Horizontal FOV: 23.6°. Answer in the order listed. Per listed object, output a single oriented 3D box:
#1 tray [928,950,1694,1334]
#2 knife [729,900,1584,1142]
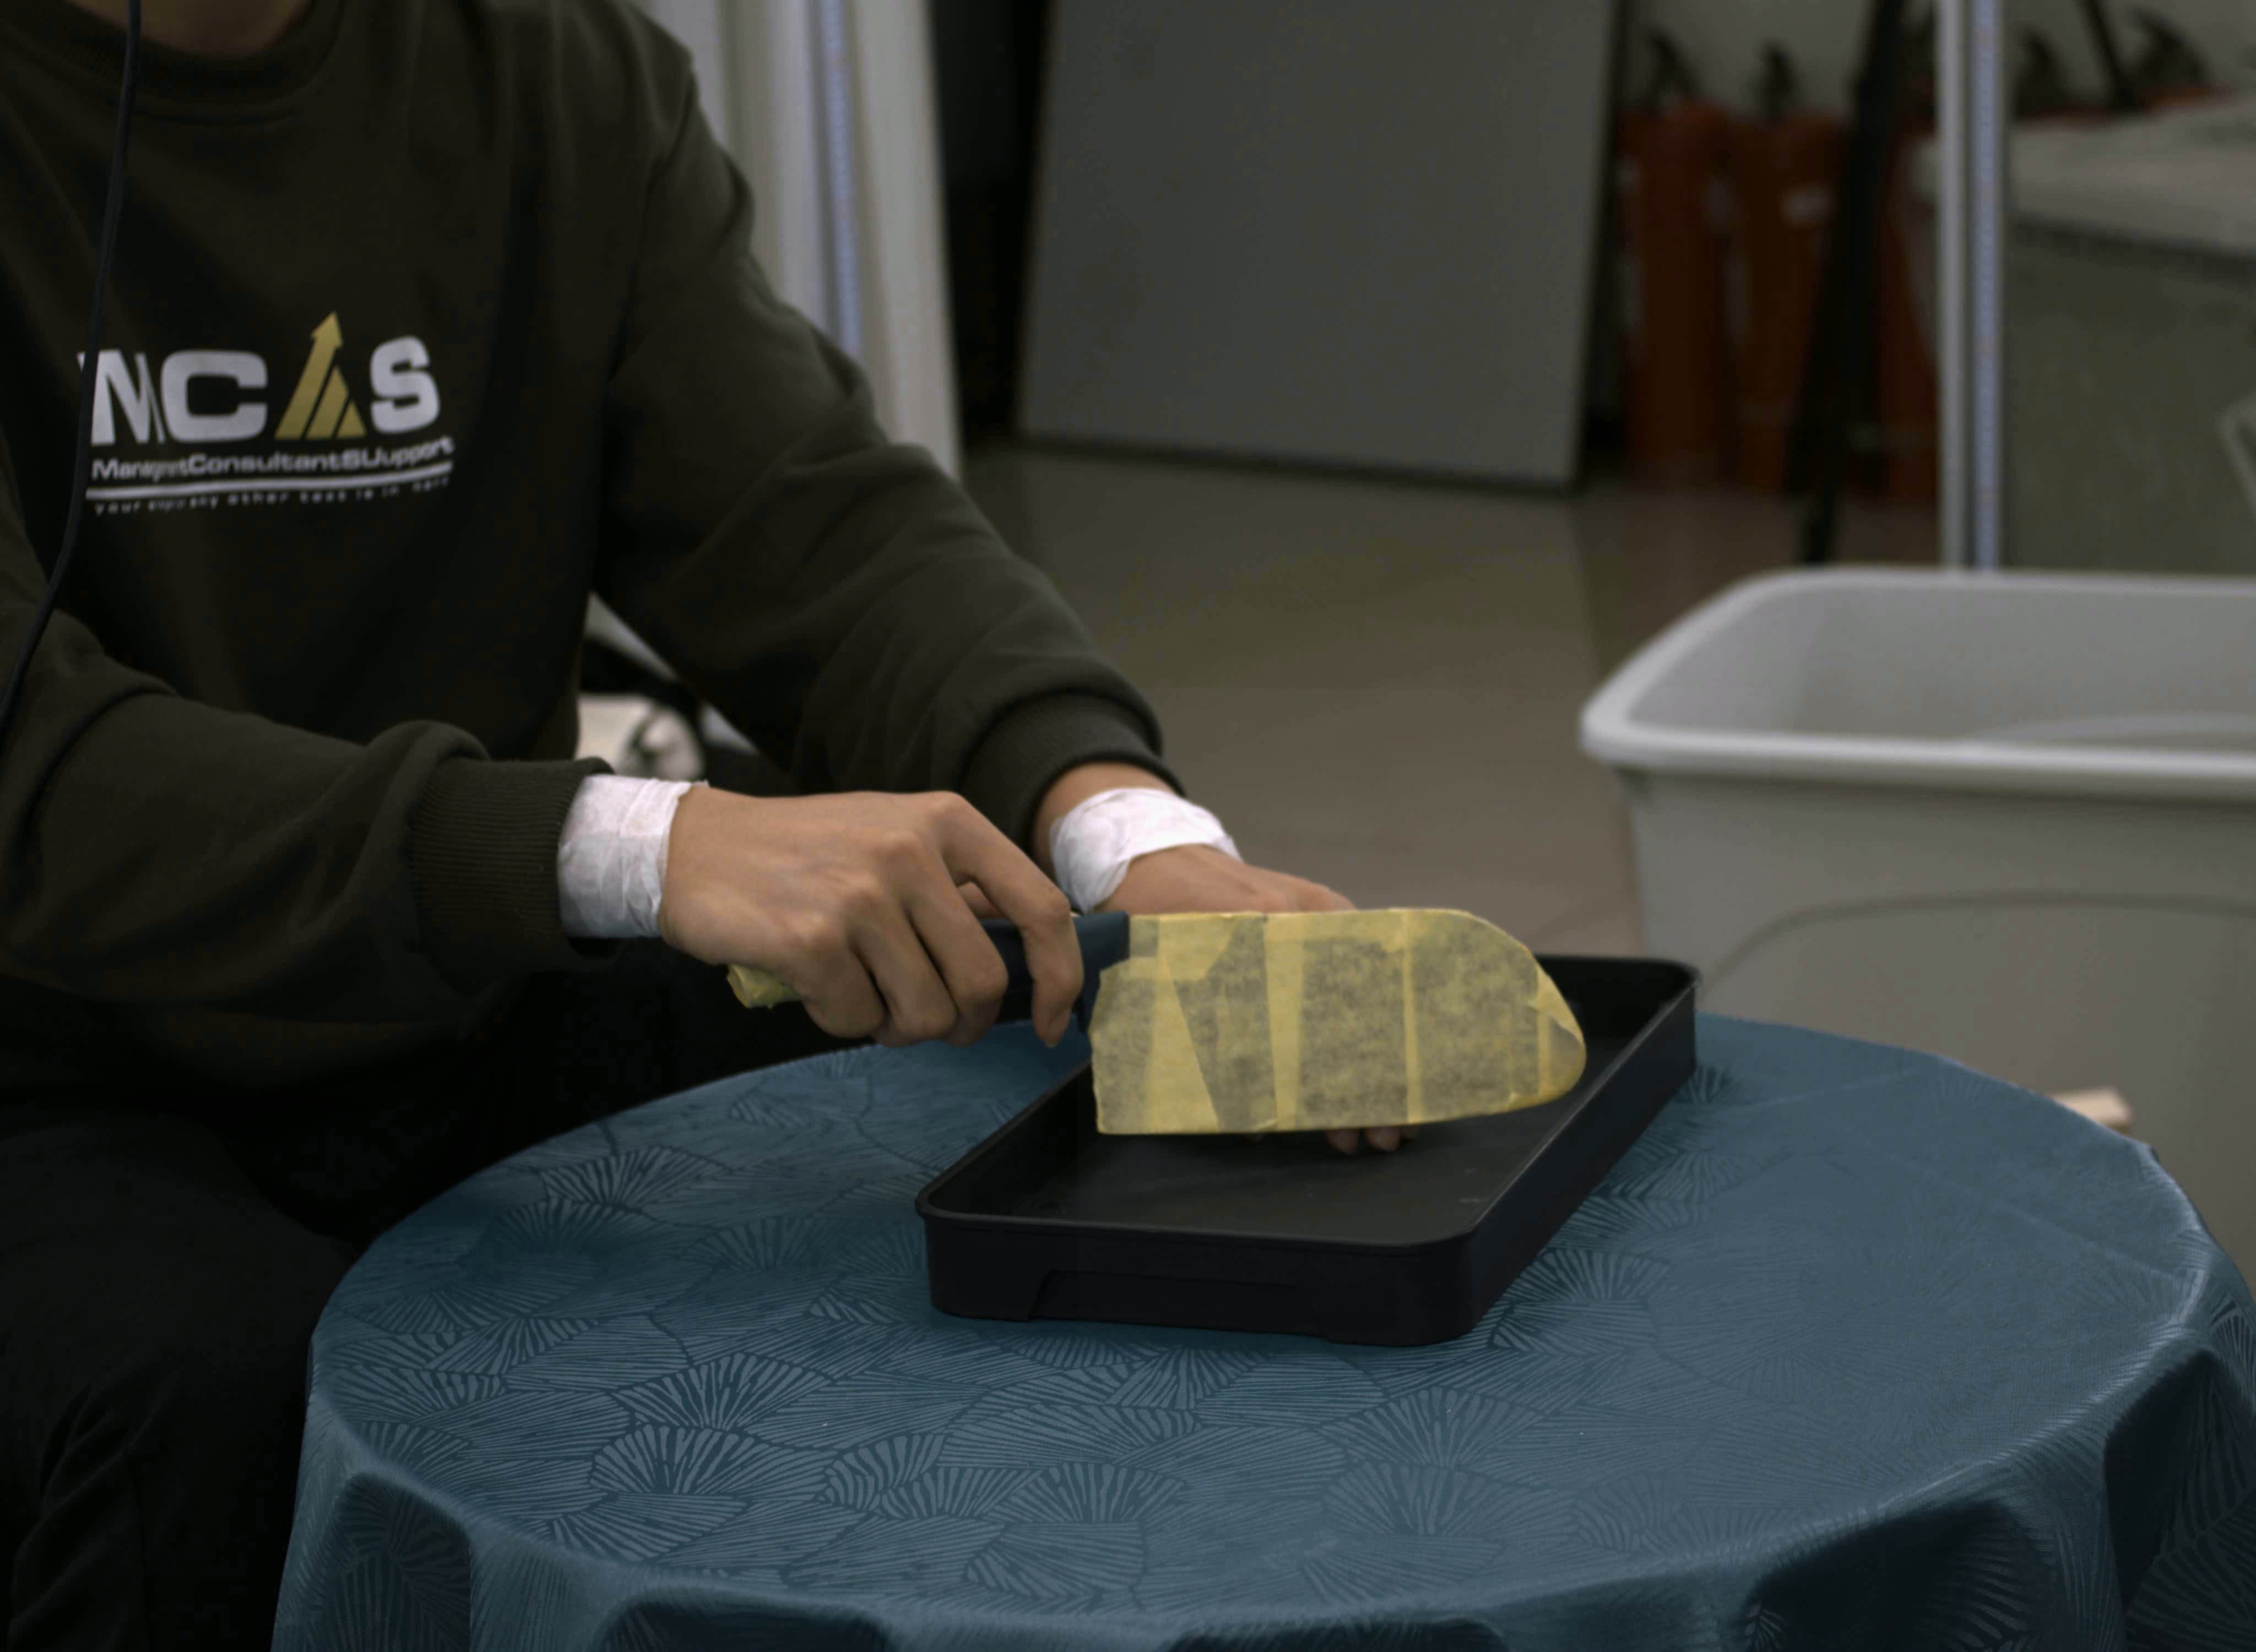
[{"bbox_3d":[0.069,0.097,1.773,0.184,0.037,0.315,1,14,20],"label":"tray"},{"bbox_3d":[0.011,0.063,1.771,0.284,0.082,0.027,1,-9,-7],"label":"knife"}]
